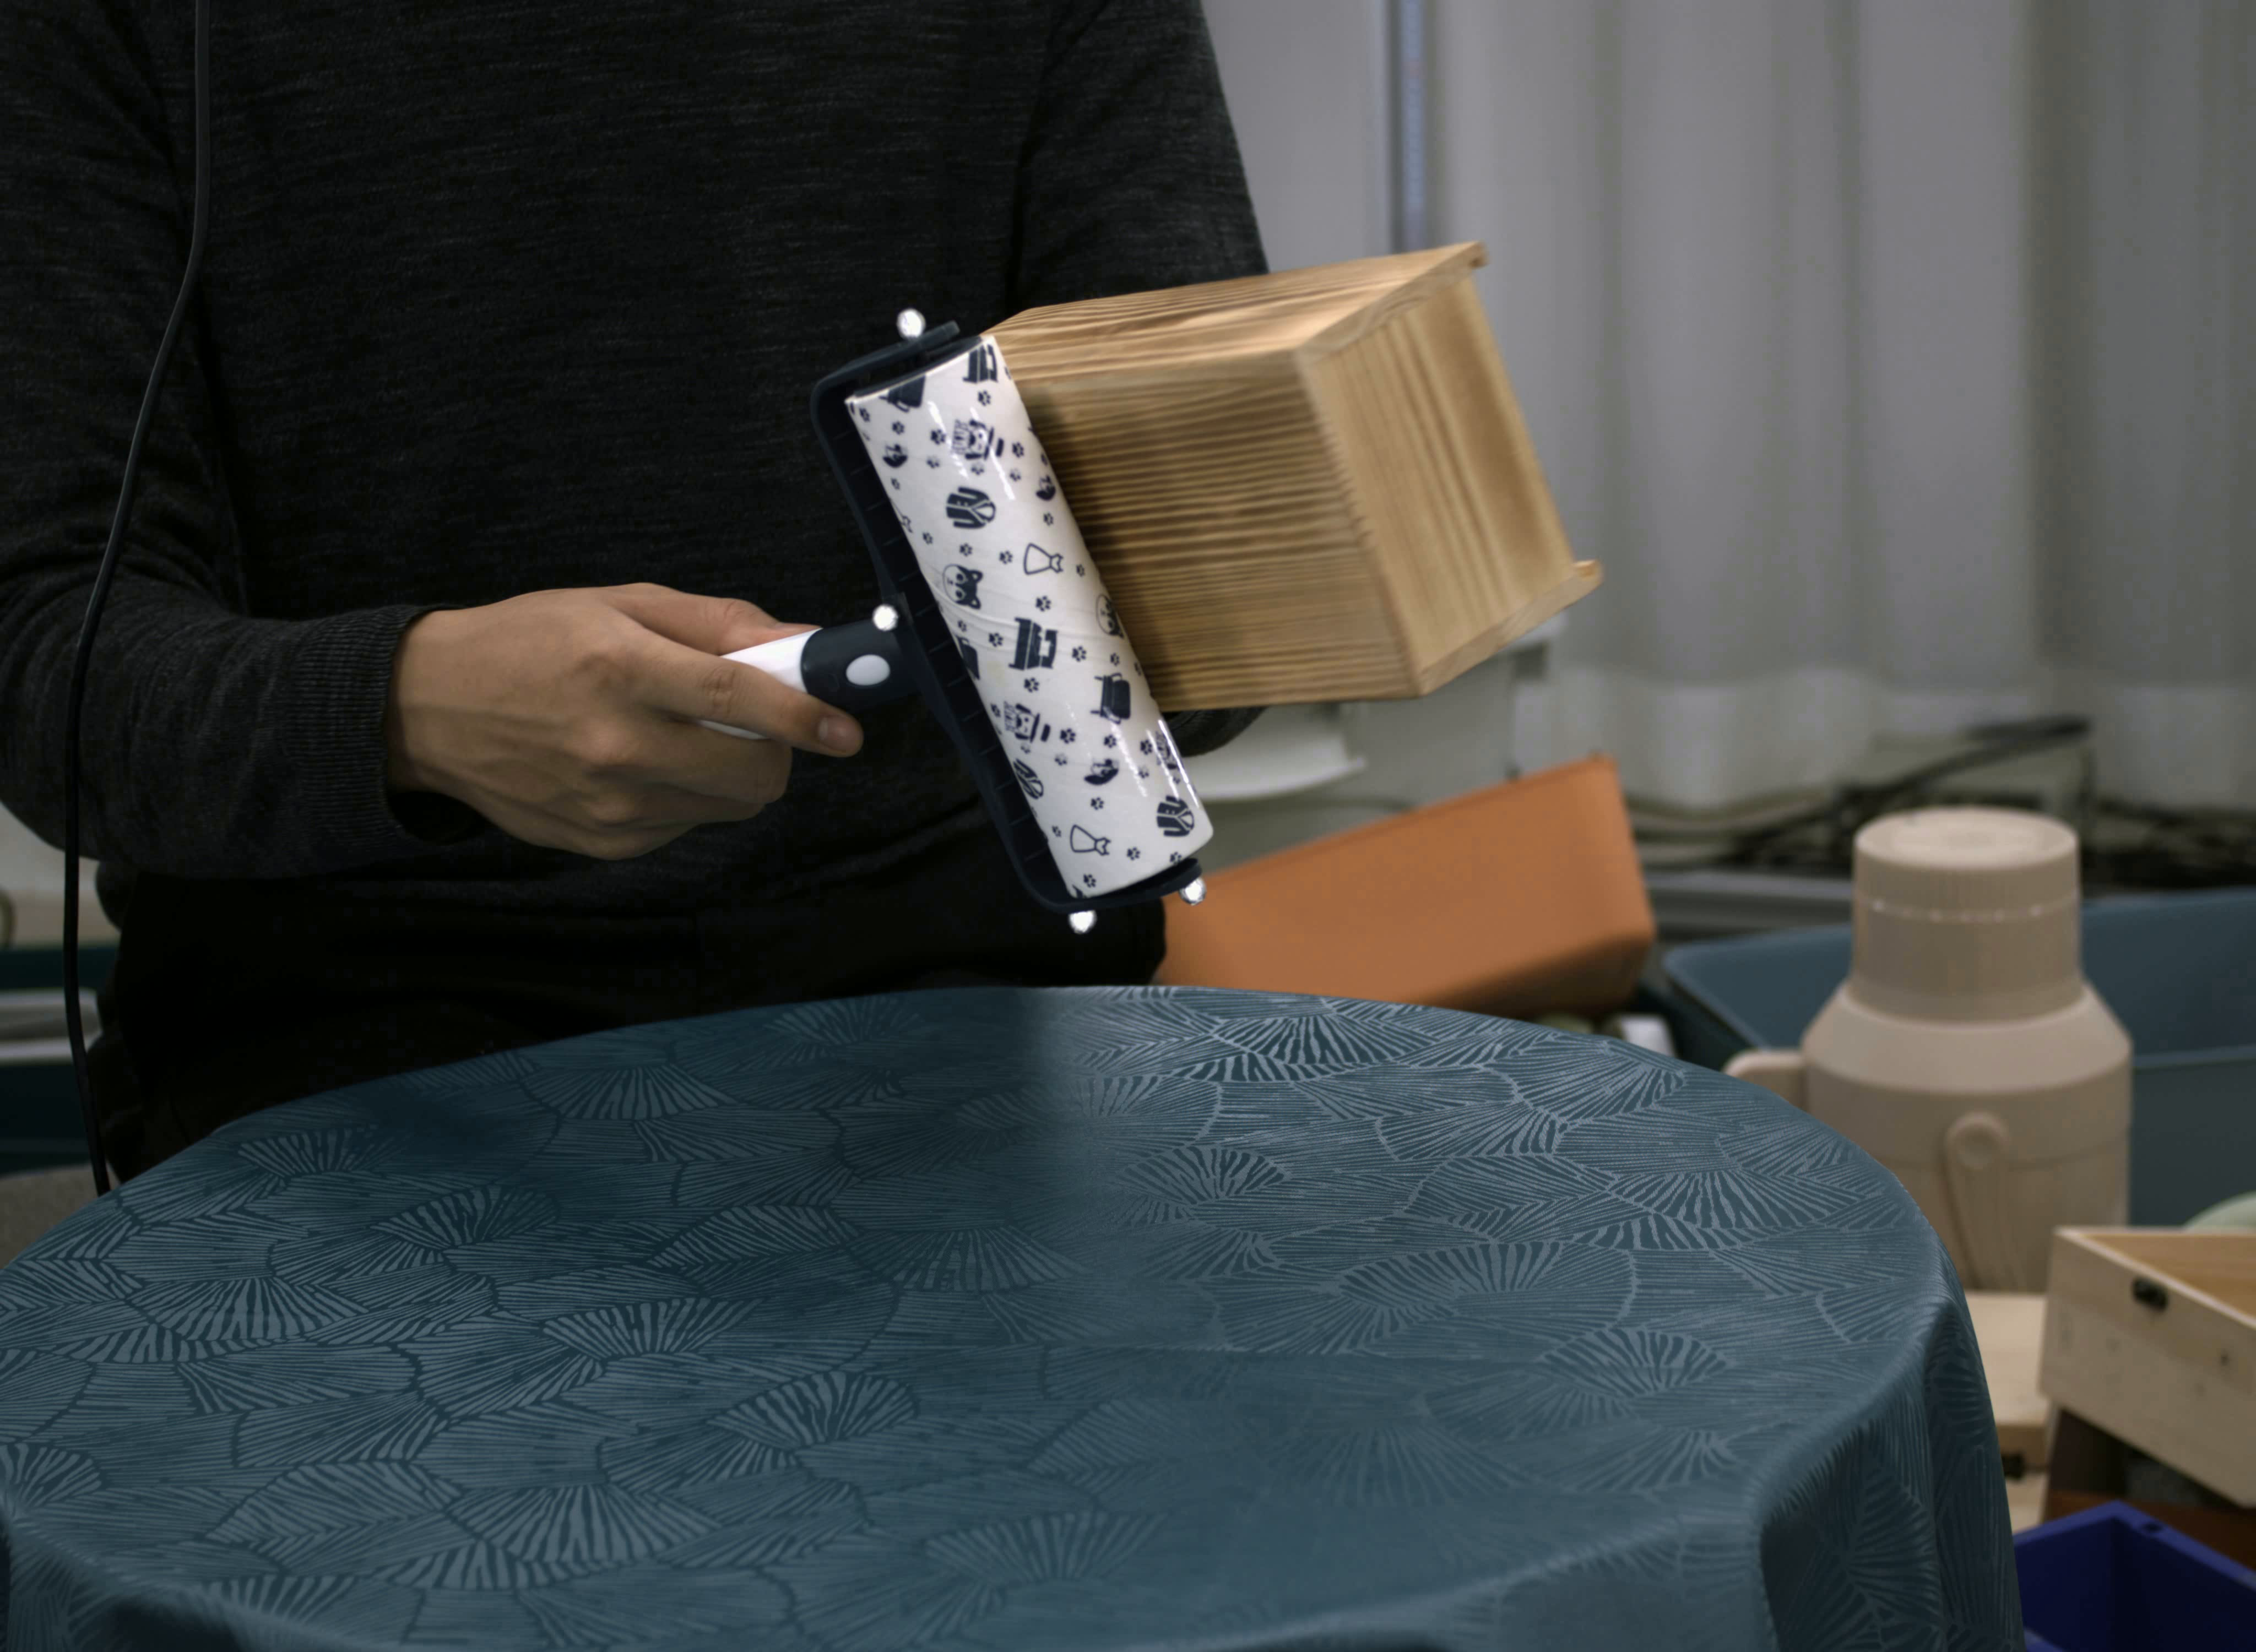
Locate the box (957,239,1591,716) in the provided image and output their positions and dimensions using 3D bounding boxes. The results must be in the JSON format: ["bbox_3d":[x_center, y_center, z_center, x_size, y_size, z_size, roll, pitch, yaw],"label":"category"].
[{"bbox_3d":[0.023,-0.097,1.600,0.080,0.107,0.212,-31,17,-34],"label":"box"}]

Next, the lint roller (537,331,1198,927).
[{"bbox_3d":[-0.100,-0.039,1.653,0.247,0.176,0.050,-15,11,43],"label":"lint roller"}]
